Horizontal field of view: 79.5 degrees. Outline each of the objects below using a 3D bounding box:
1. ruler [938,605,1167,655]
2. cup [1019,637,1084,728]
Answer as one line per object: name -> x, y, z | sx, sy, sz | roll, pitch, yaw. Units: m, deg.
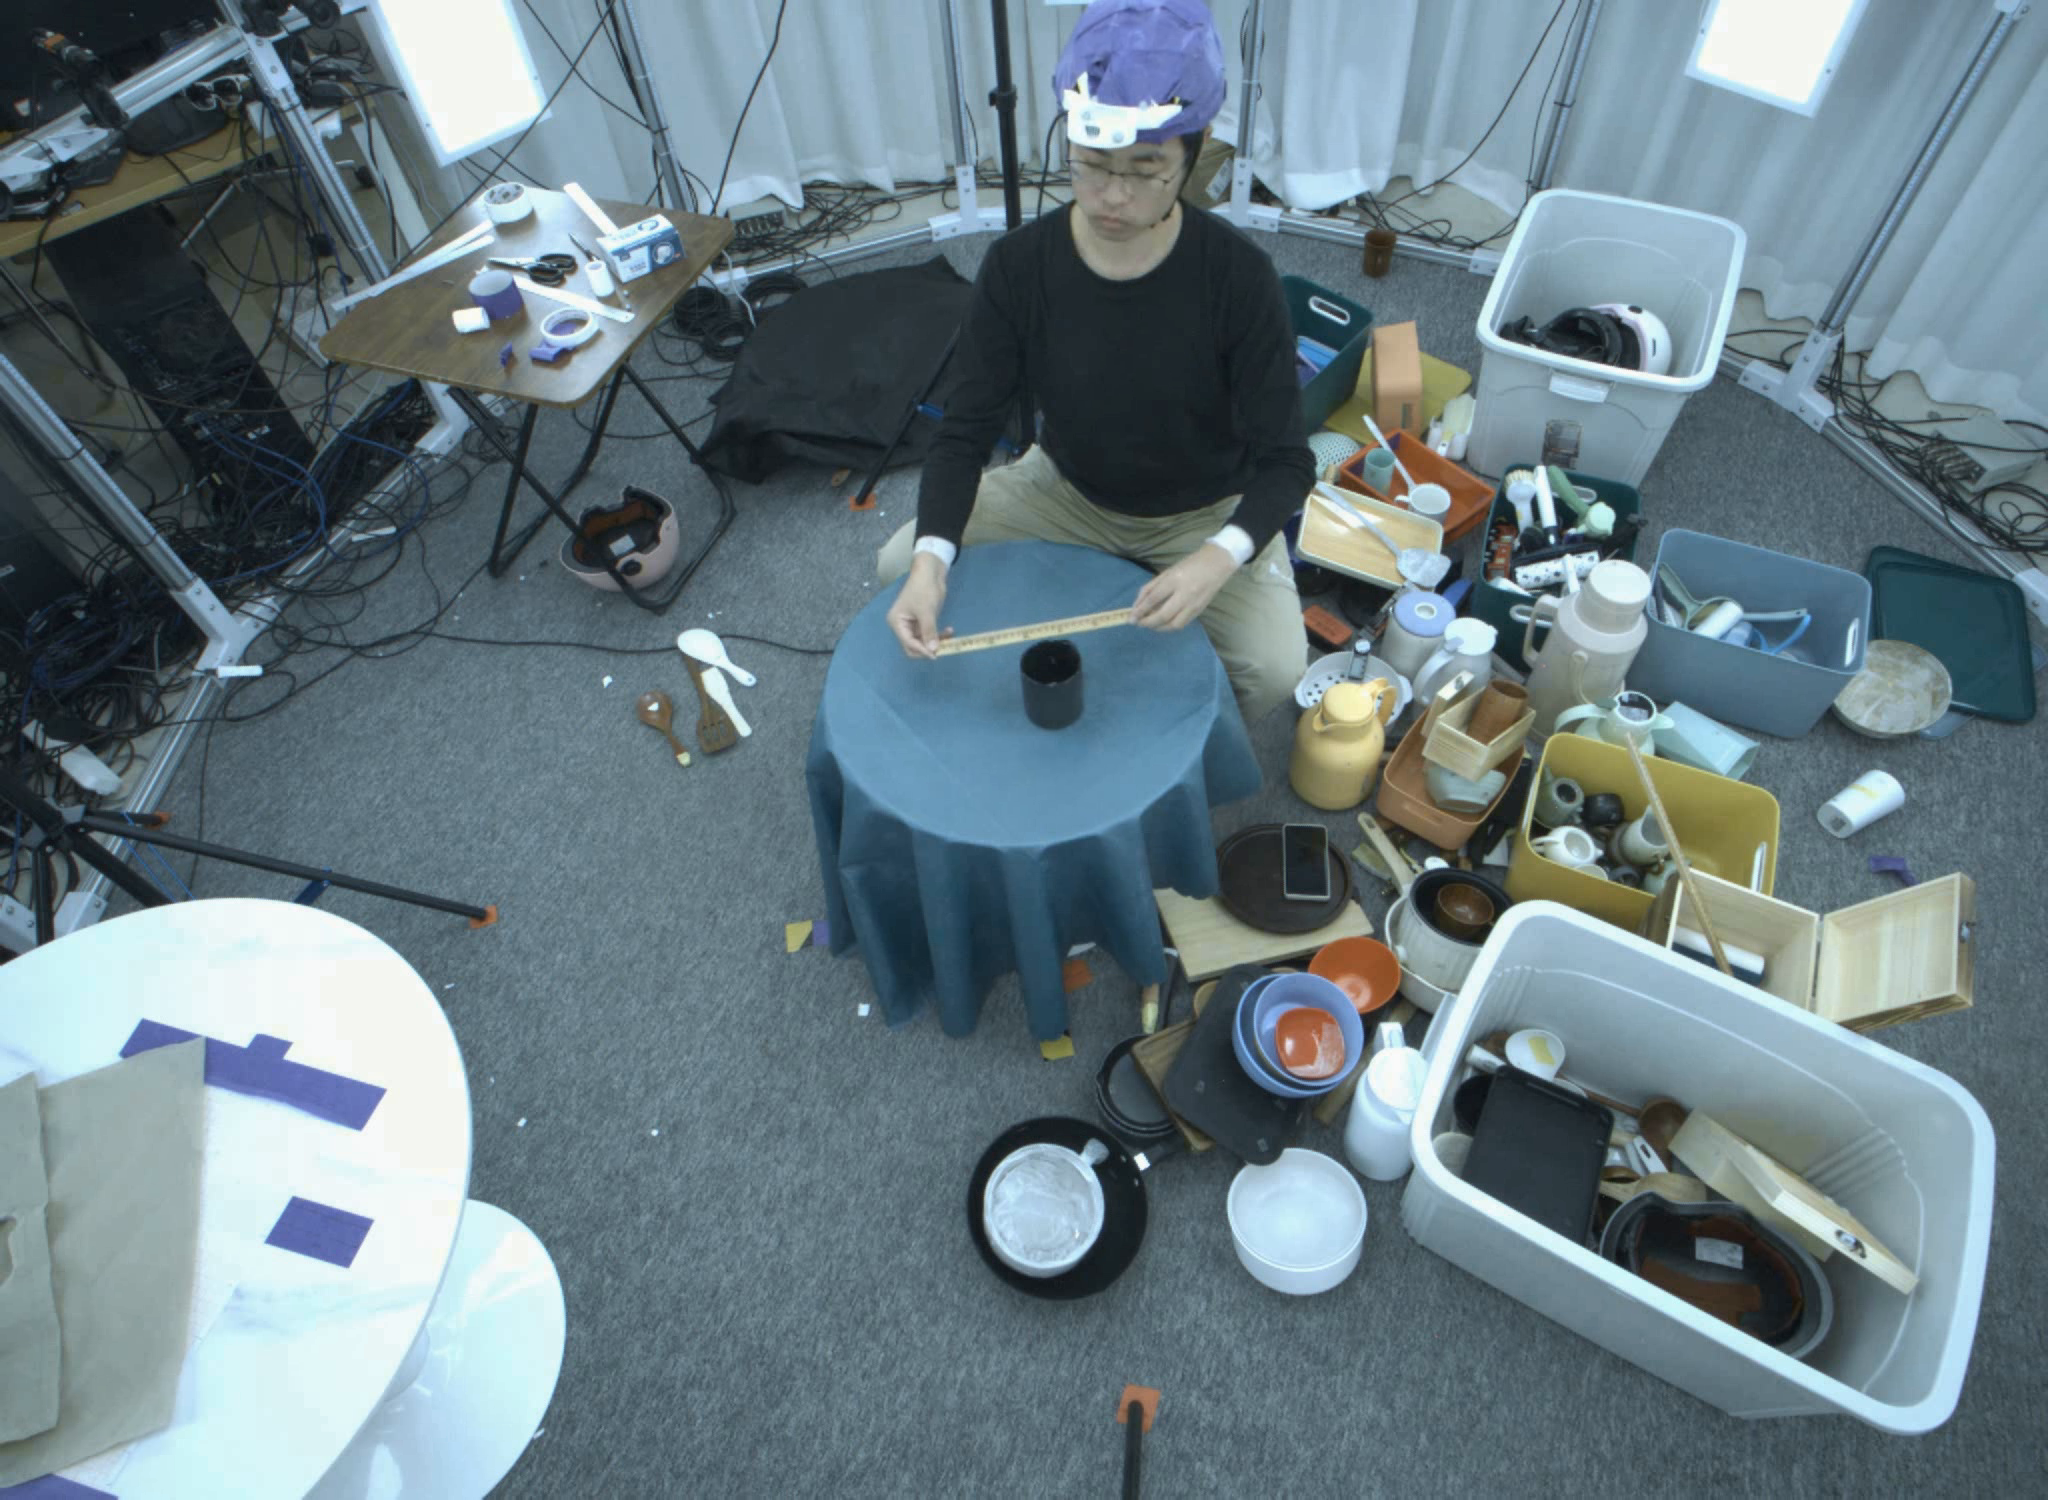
ruler -> 0.039, -0.175, 1.762 | 0.331, 0.022, 0.027 | -9, 66, 2
cup -> 0.047, -0.110, 1.800 | 0.088, 0.106, 0.123 | 13, 57, 15
